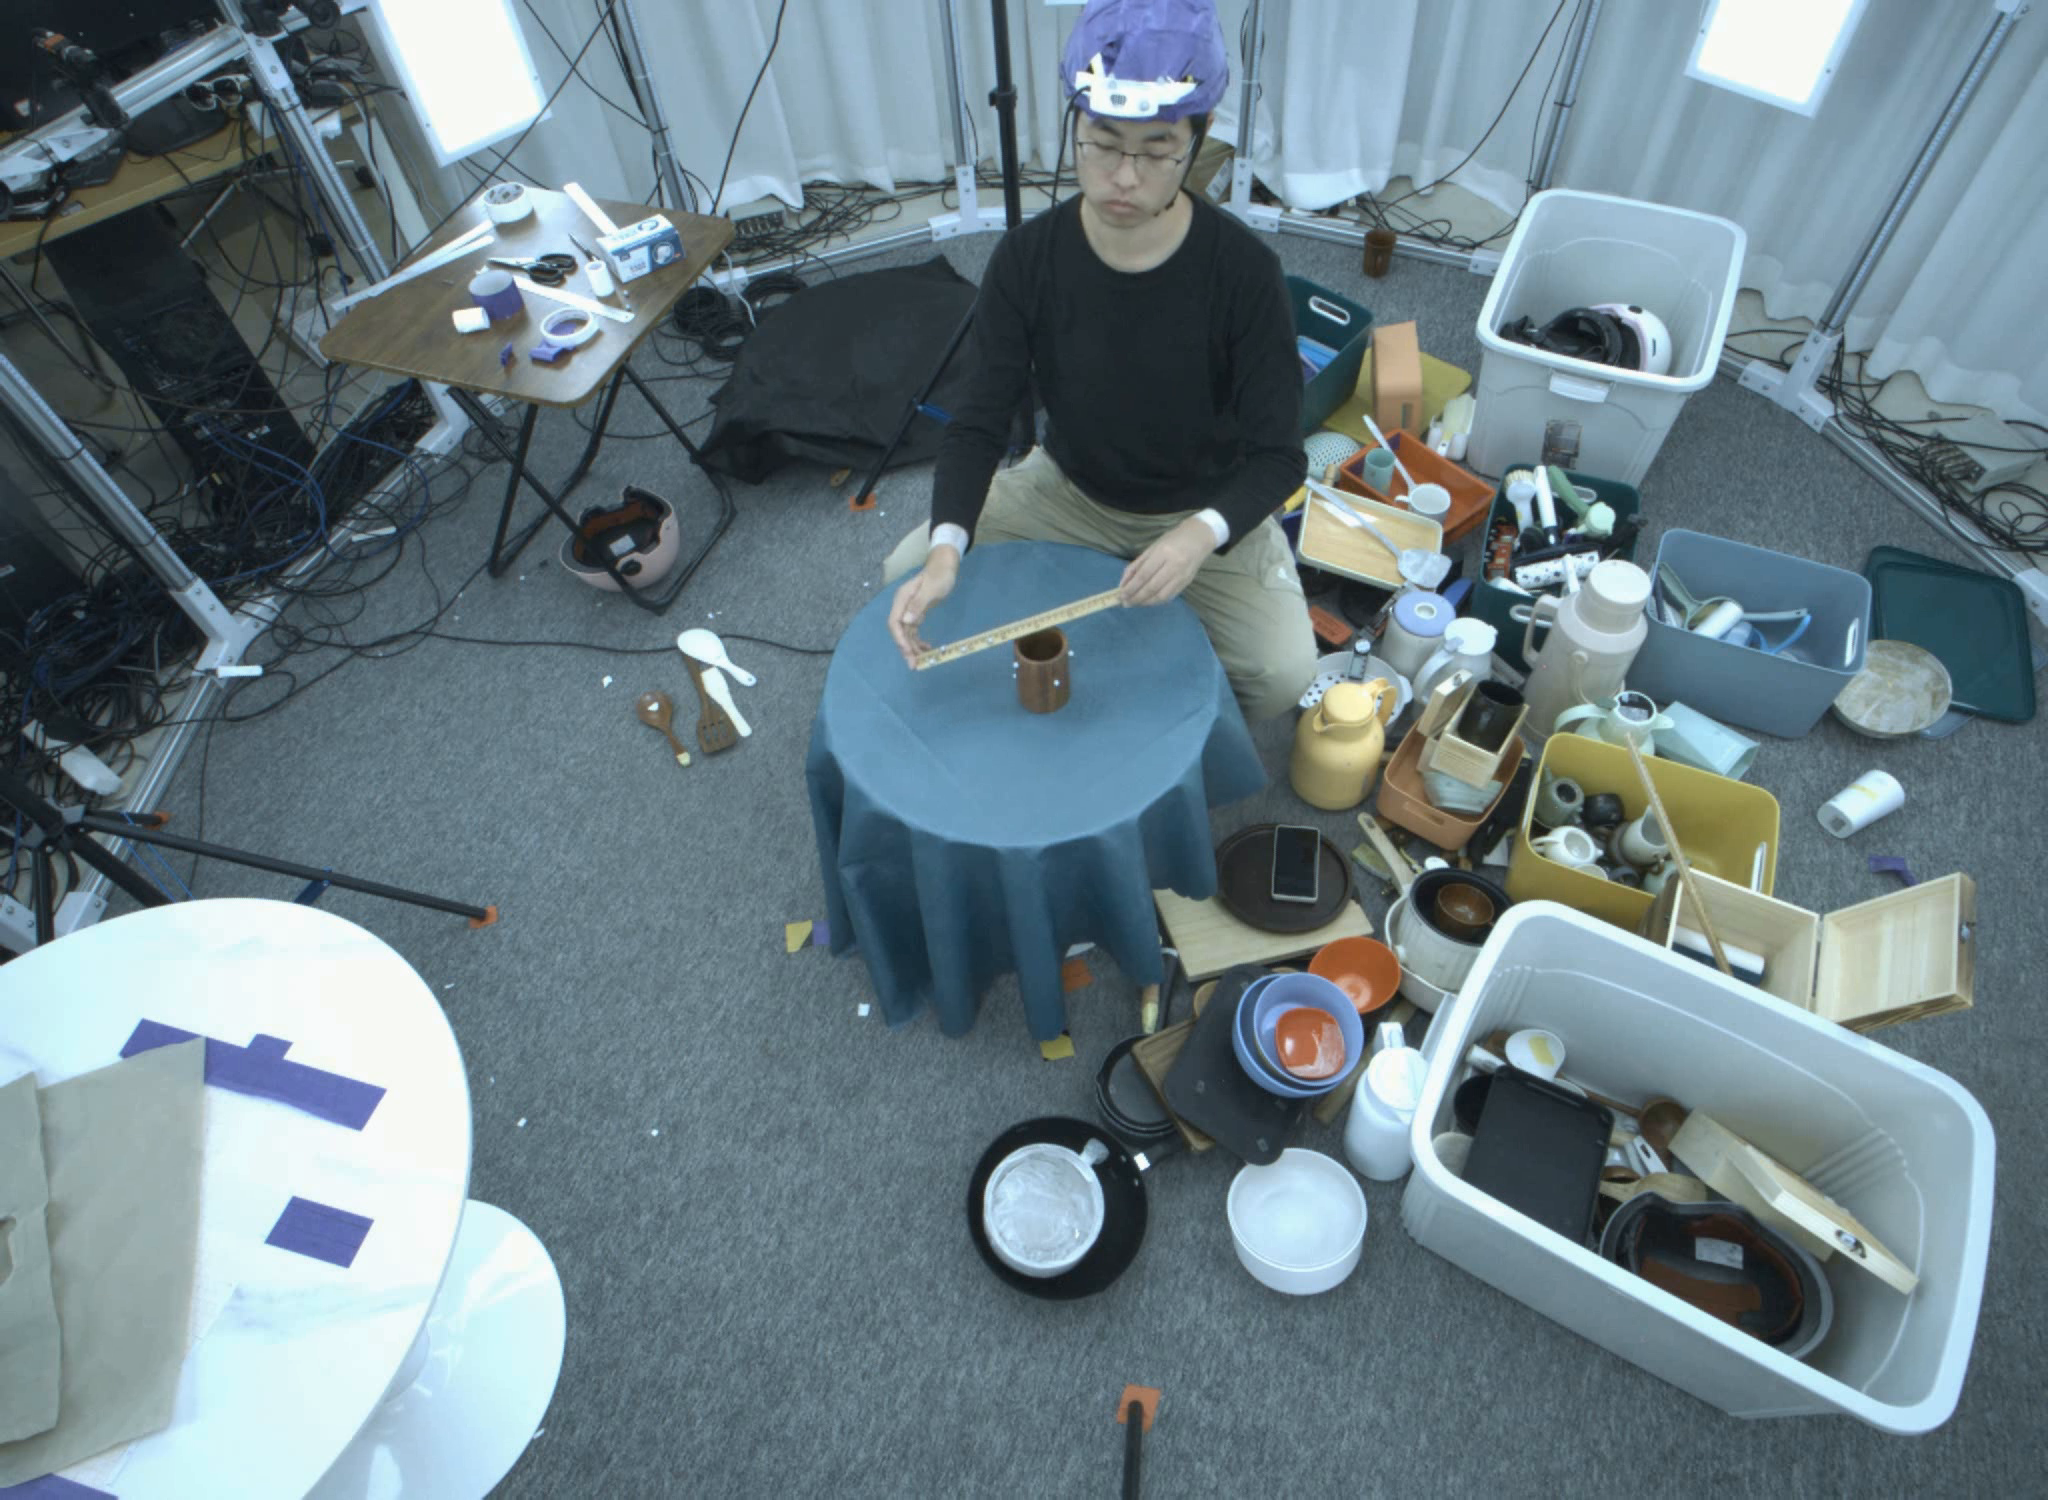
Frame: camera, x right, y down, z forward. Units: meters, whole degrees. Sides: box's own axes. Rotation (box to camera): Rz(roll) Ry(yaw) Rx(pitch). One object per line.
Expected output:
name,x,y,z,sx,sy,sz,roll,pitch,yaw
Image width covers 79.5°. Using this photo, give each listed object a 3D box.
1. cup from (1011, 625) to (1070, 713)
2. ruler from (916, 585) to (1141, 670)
cup,0.025,-0.121,1.800,0.087,0.119,0.087,-1,55,2
ruler,0.004,-0.178,1.757,0.332,0.022,0.027,-18,70,-1
